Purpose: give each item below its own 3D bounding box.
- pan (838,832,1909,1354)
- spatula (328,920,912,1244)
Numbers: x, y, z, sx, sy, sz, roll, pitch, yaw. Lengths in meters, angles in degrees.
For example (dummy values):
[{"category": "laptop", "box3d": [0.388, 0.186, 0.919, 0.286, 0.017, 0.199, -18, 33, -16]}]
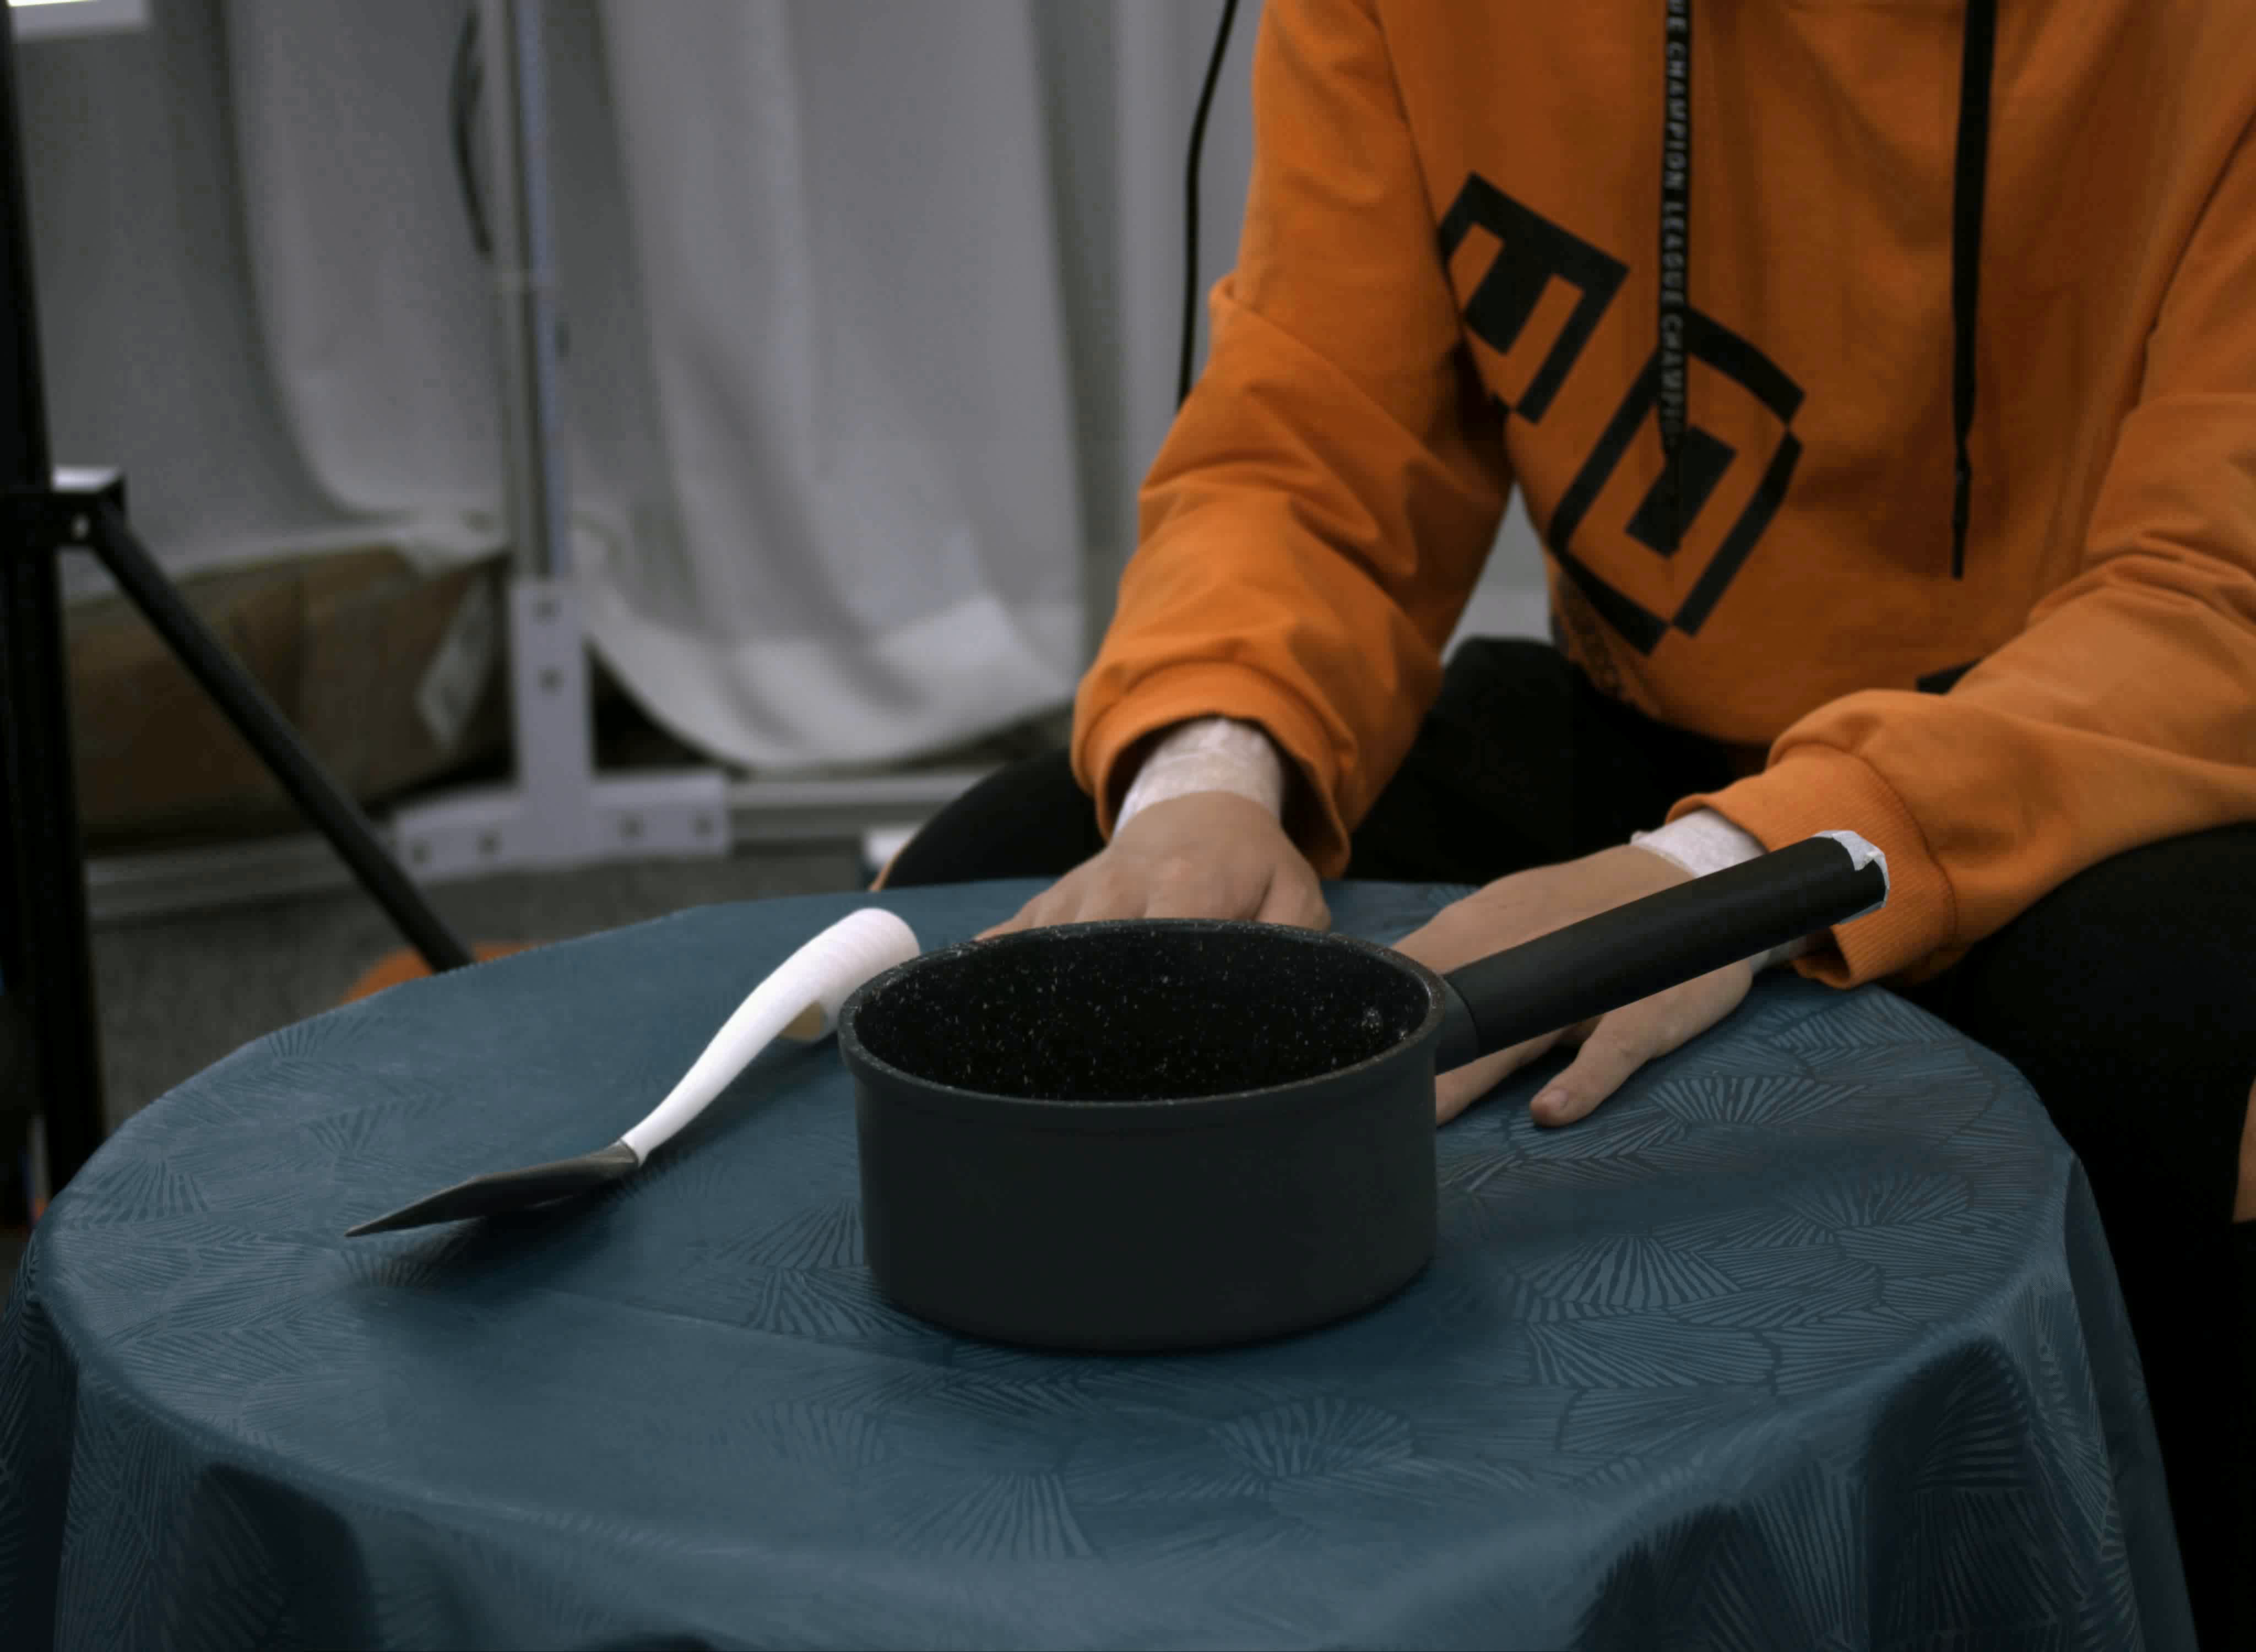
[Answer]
[{"category": "pan", "box3d": [0.077, 0.071, 1.520, 0.323, 0.086, 0.175, -10, 18, -20]}, {"category": "spatula", "box3d": [-0.144, 0.081, 1.619, 0.059, 0.032, 0.283, -20, 5, 29]}]
